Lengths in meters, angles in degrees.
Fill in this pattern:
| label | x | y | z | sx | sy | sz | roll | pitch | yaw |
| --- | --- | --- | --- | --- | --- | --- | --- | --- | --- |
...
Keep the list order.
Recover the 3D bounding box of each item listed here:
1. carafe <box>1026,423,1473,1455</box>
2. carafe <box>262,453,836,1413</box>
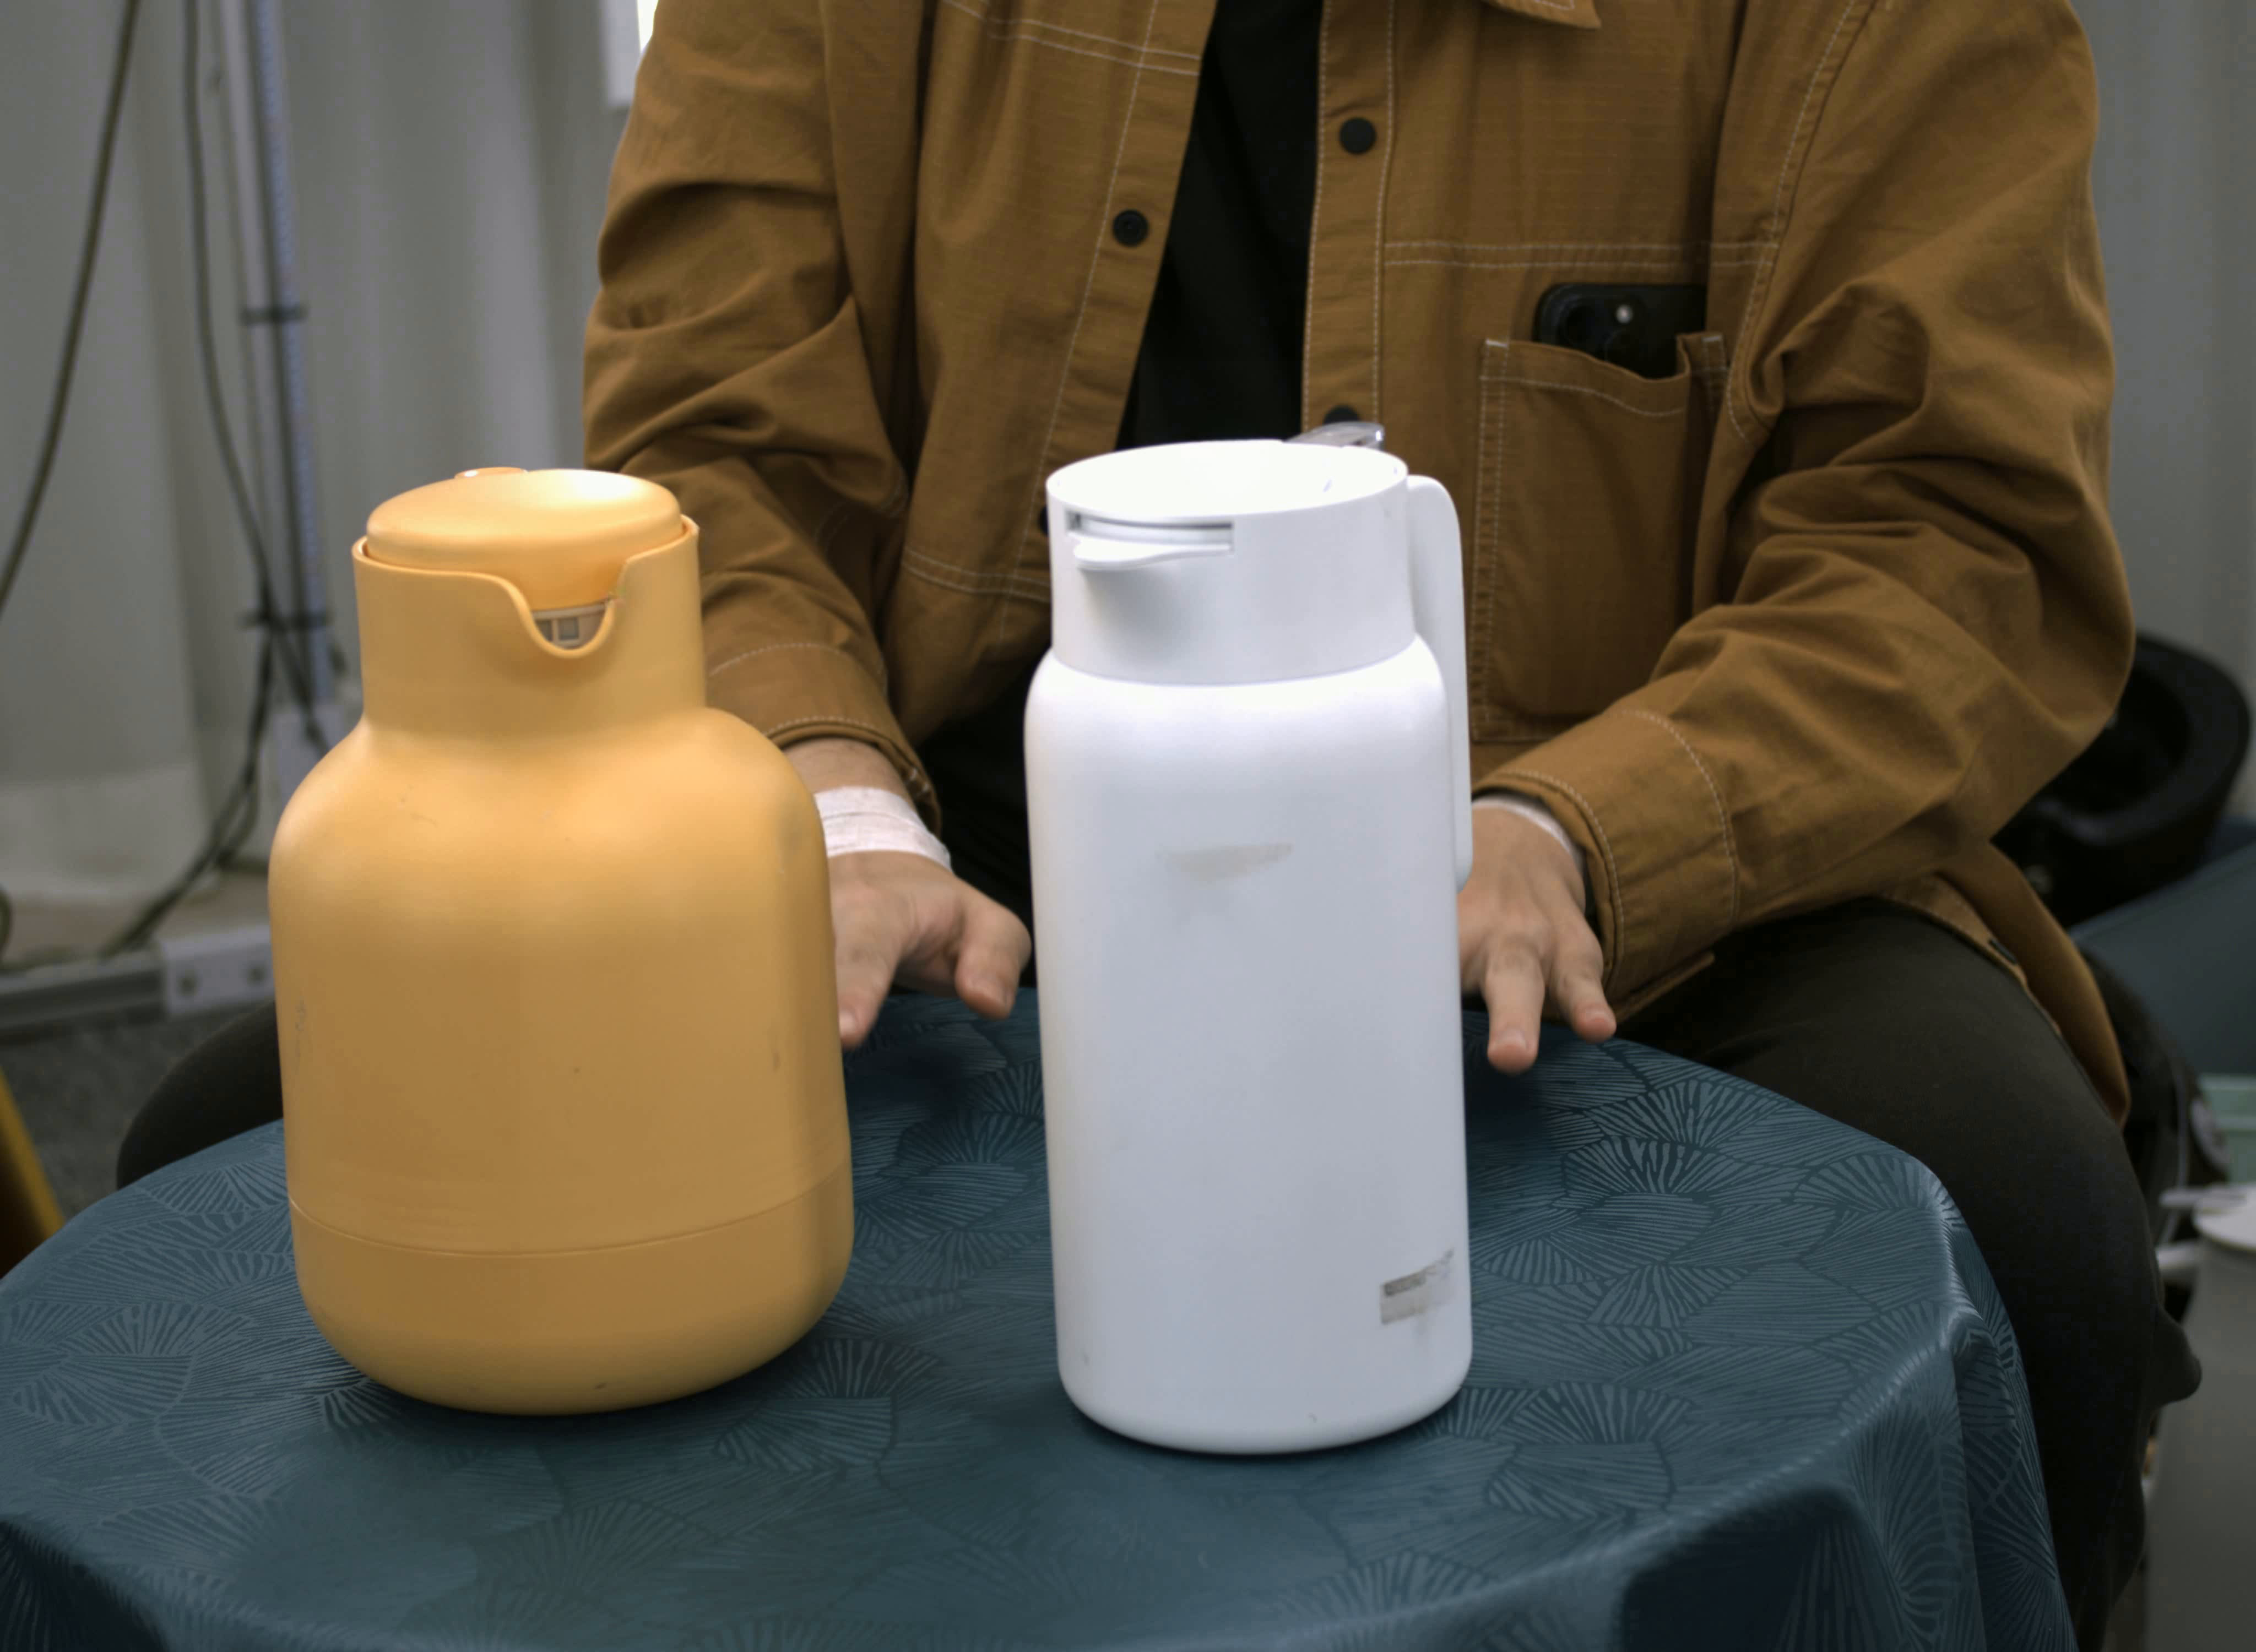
| label | x | y | z | sx | sy | sz | roll | pitch | yaw |
| --- | --- | --- | --- | --- | --- | --- | --- | --- | --- |
| carafe | 0.041 | 0.027 | 1.522 | 0.124 | 0.268 | 0.173 | 4 | 15 | 32 |
| carafe | -0.170 | 0.022 | 1.586 | 0.162 | 0.259 | 0.204 | -3 | 15 | -13 |
